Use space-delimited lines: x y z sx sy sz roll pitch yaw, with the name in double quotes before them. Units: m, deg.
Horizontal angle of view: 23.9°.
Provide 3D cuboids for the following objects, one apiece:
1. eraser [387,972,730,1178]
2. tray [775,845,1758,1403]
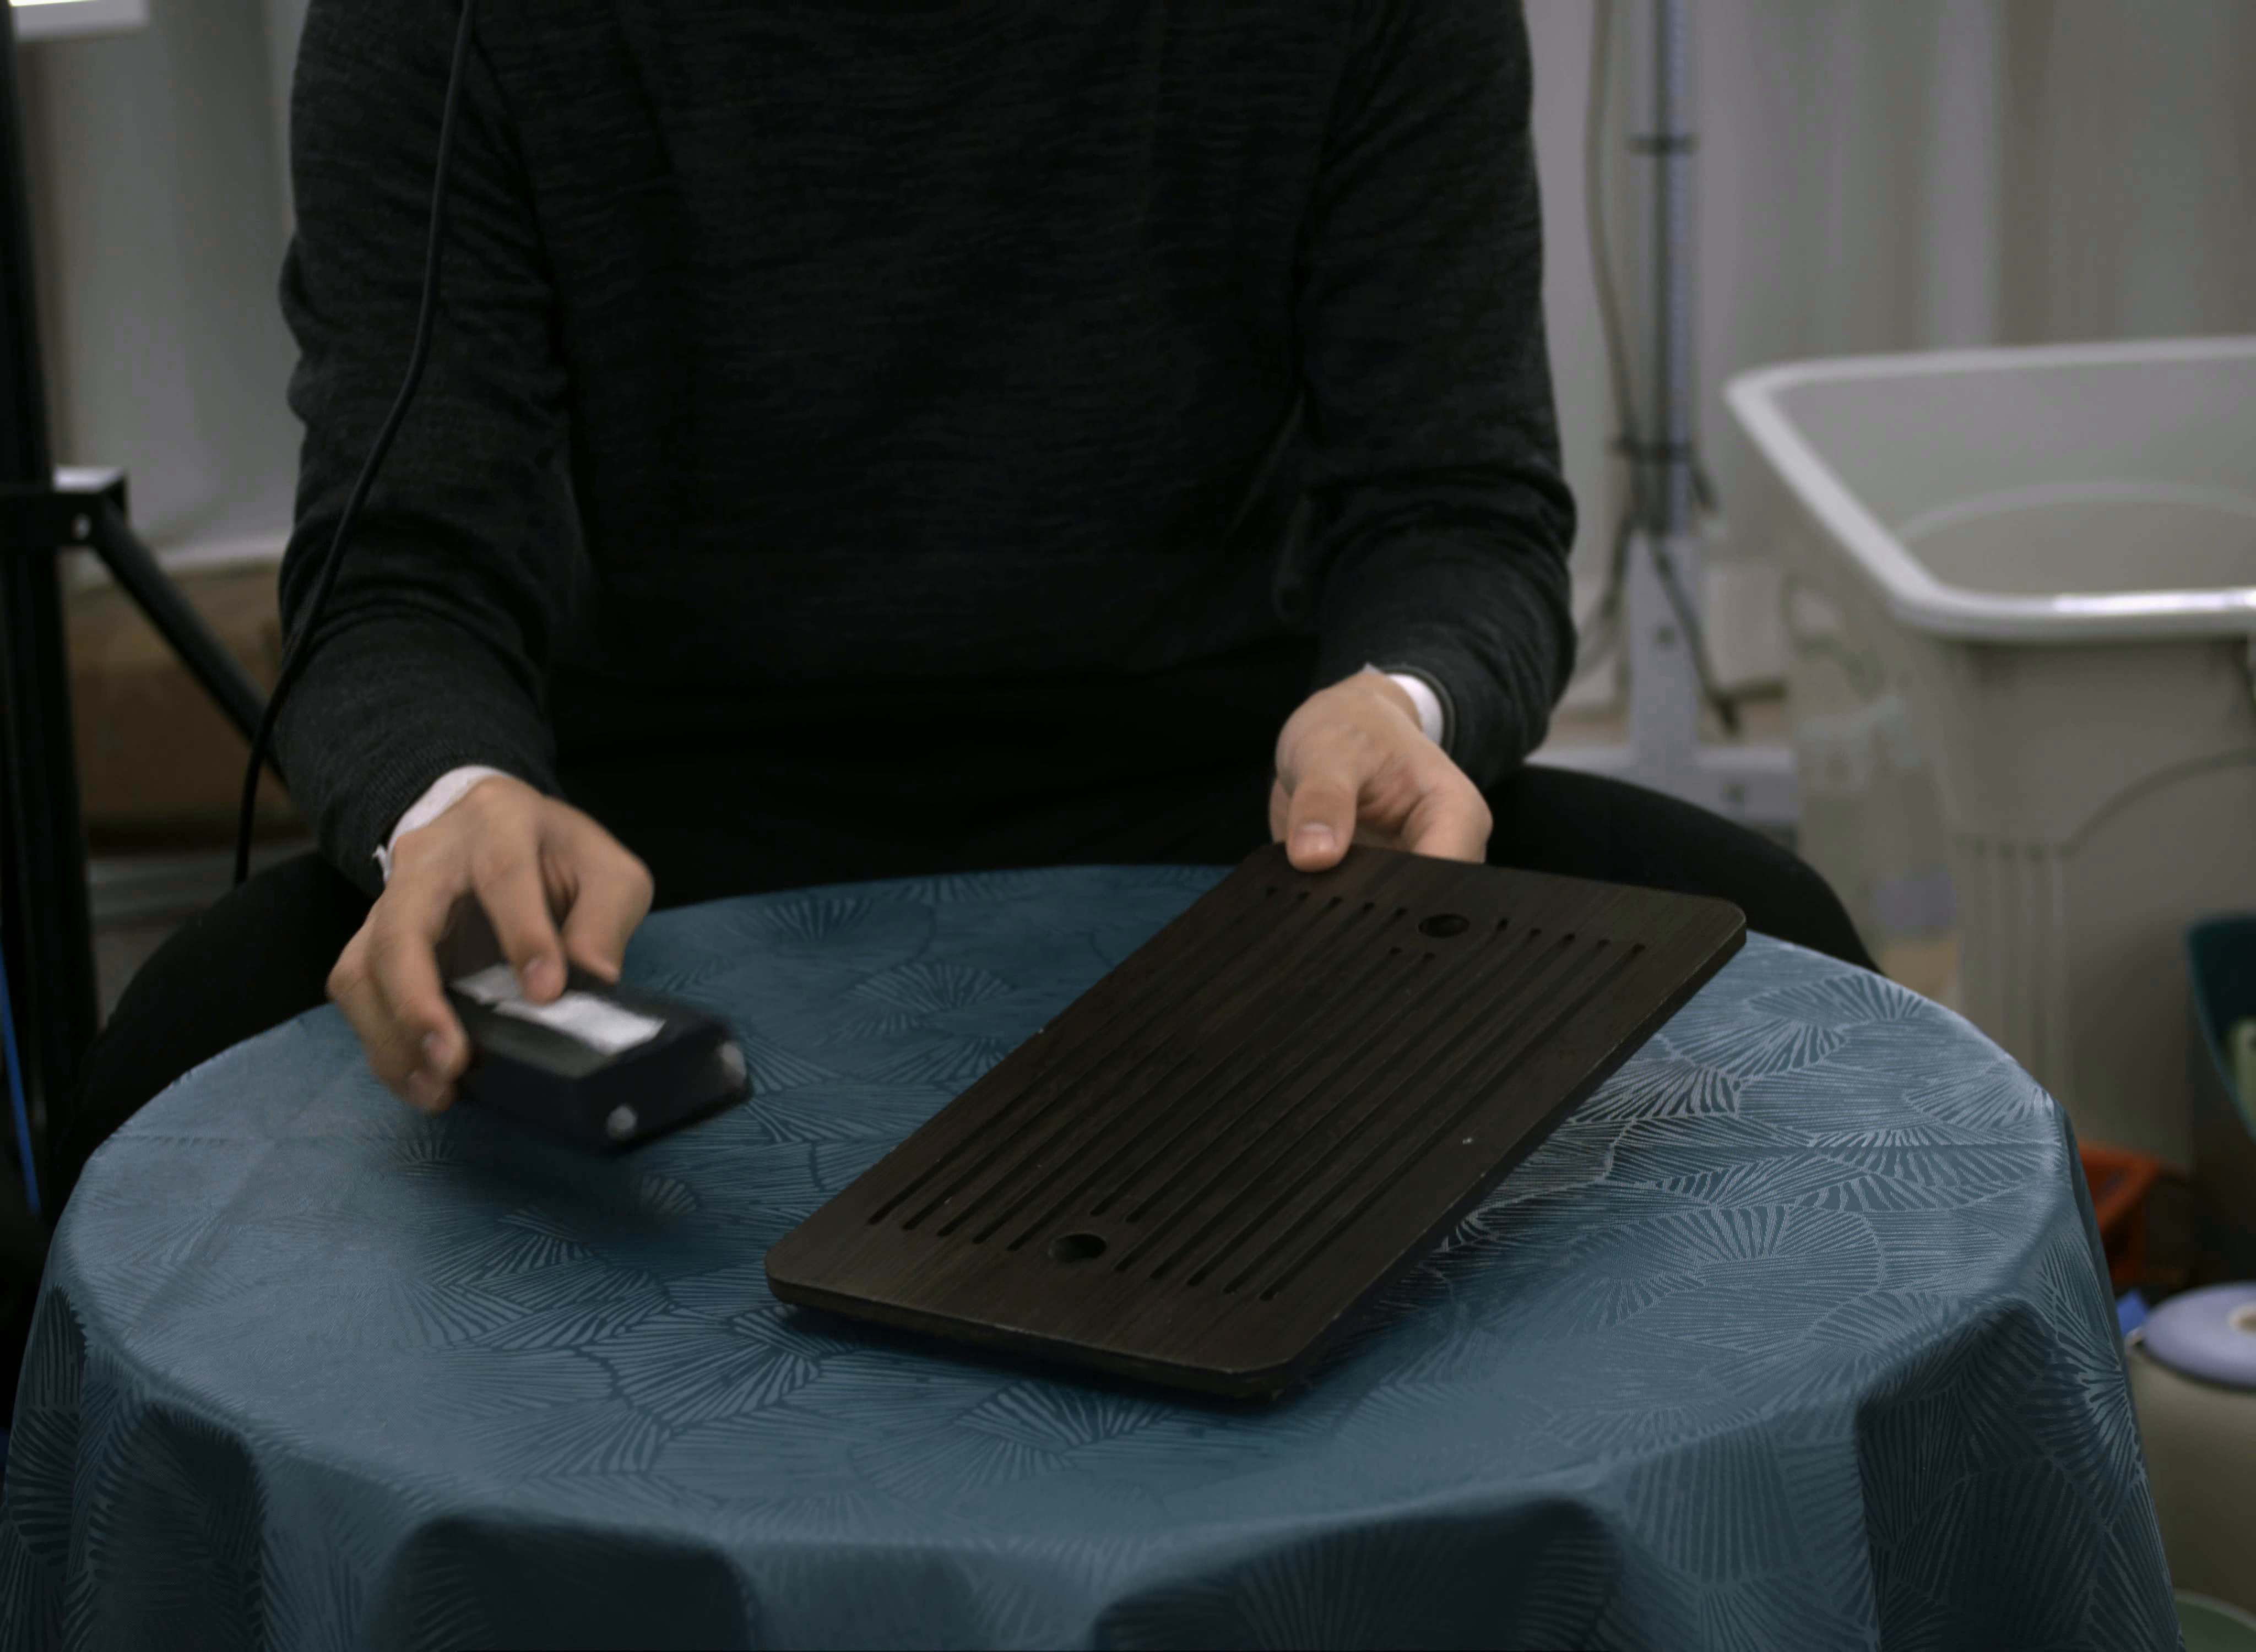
"eraser" -0.167 0.072 1.567 0.052 0.030 0.128 -18 18 -28
"tray" 0.047 0.082 1.533 0.173 0.018 0.301 8 27 31
